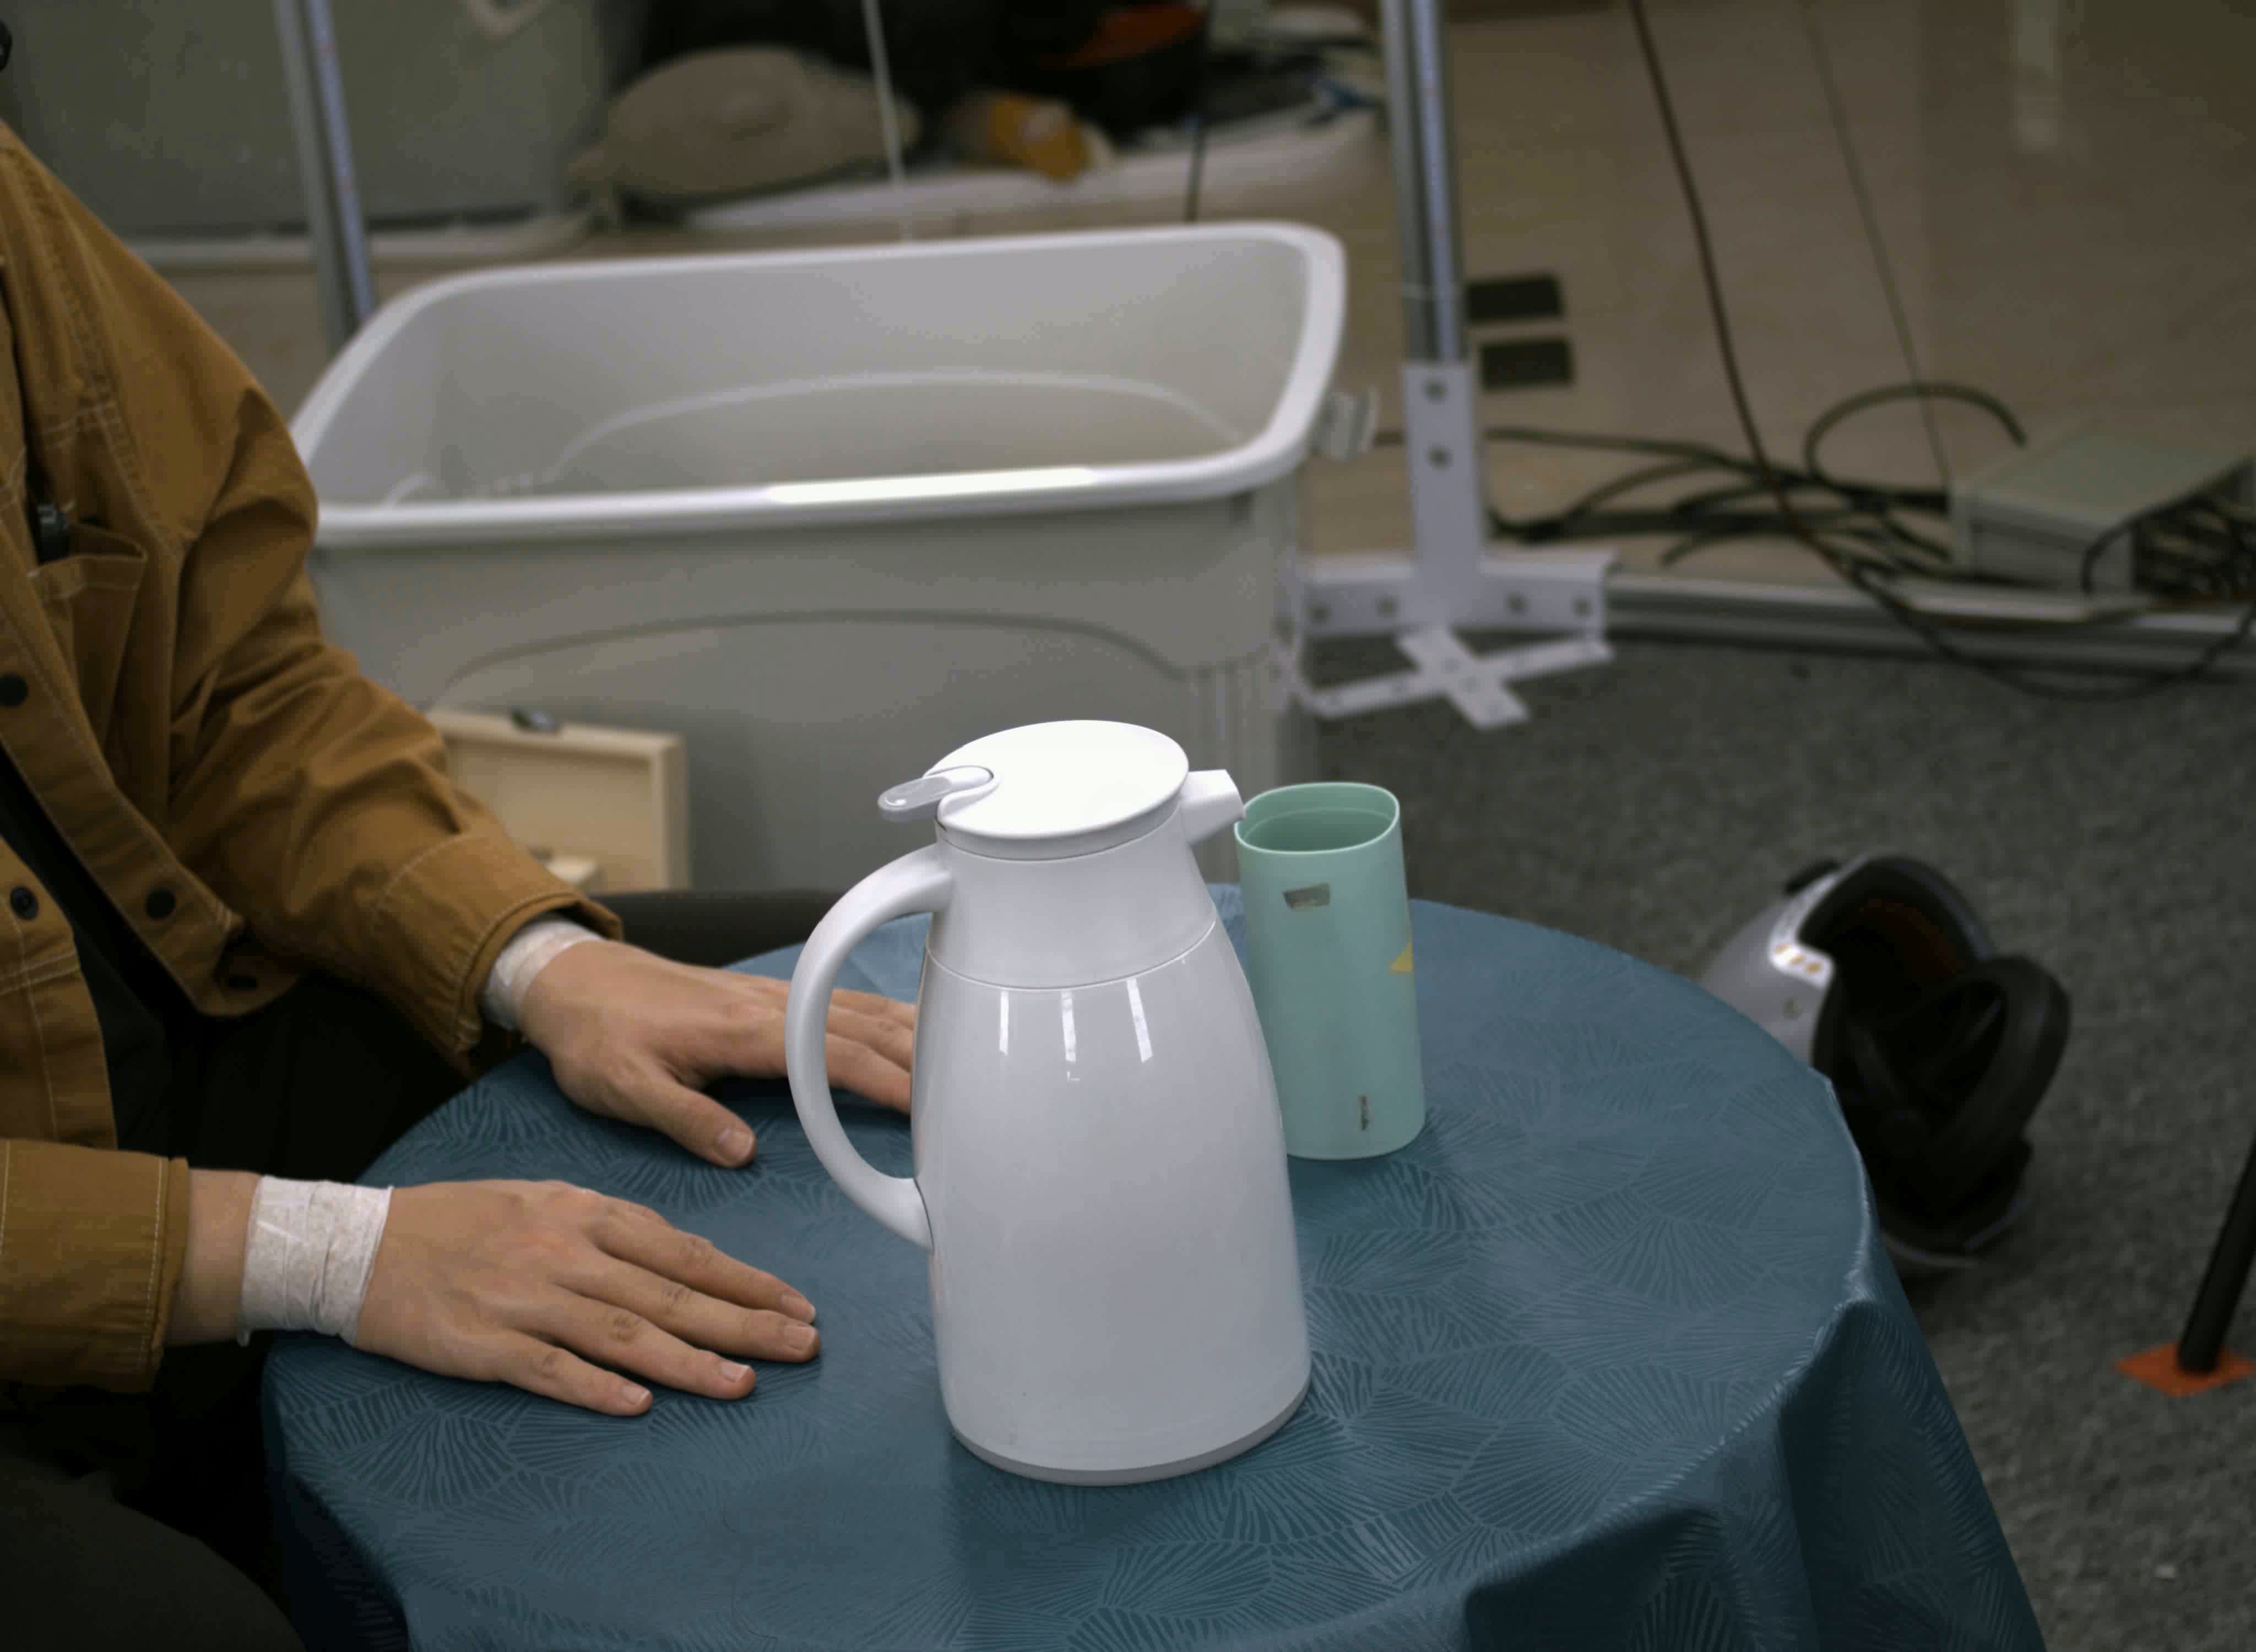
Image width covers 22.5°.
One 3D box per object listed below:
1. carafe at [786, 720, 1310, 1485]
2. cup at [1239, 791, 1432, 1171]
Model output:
[{"bbox_3d":[-0.031,0.093,1.959,0.167,0.252,0.130,-12,27,-10],"label":"carafe"},{"bbox_3d":[0.078,0.059,2.154,0.066,0.134,0.066,-5,25,3],"label":"cup"}]
